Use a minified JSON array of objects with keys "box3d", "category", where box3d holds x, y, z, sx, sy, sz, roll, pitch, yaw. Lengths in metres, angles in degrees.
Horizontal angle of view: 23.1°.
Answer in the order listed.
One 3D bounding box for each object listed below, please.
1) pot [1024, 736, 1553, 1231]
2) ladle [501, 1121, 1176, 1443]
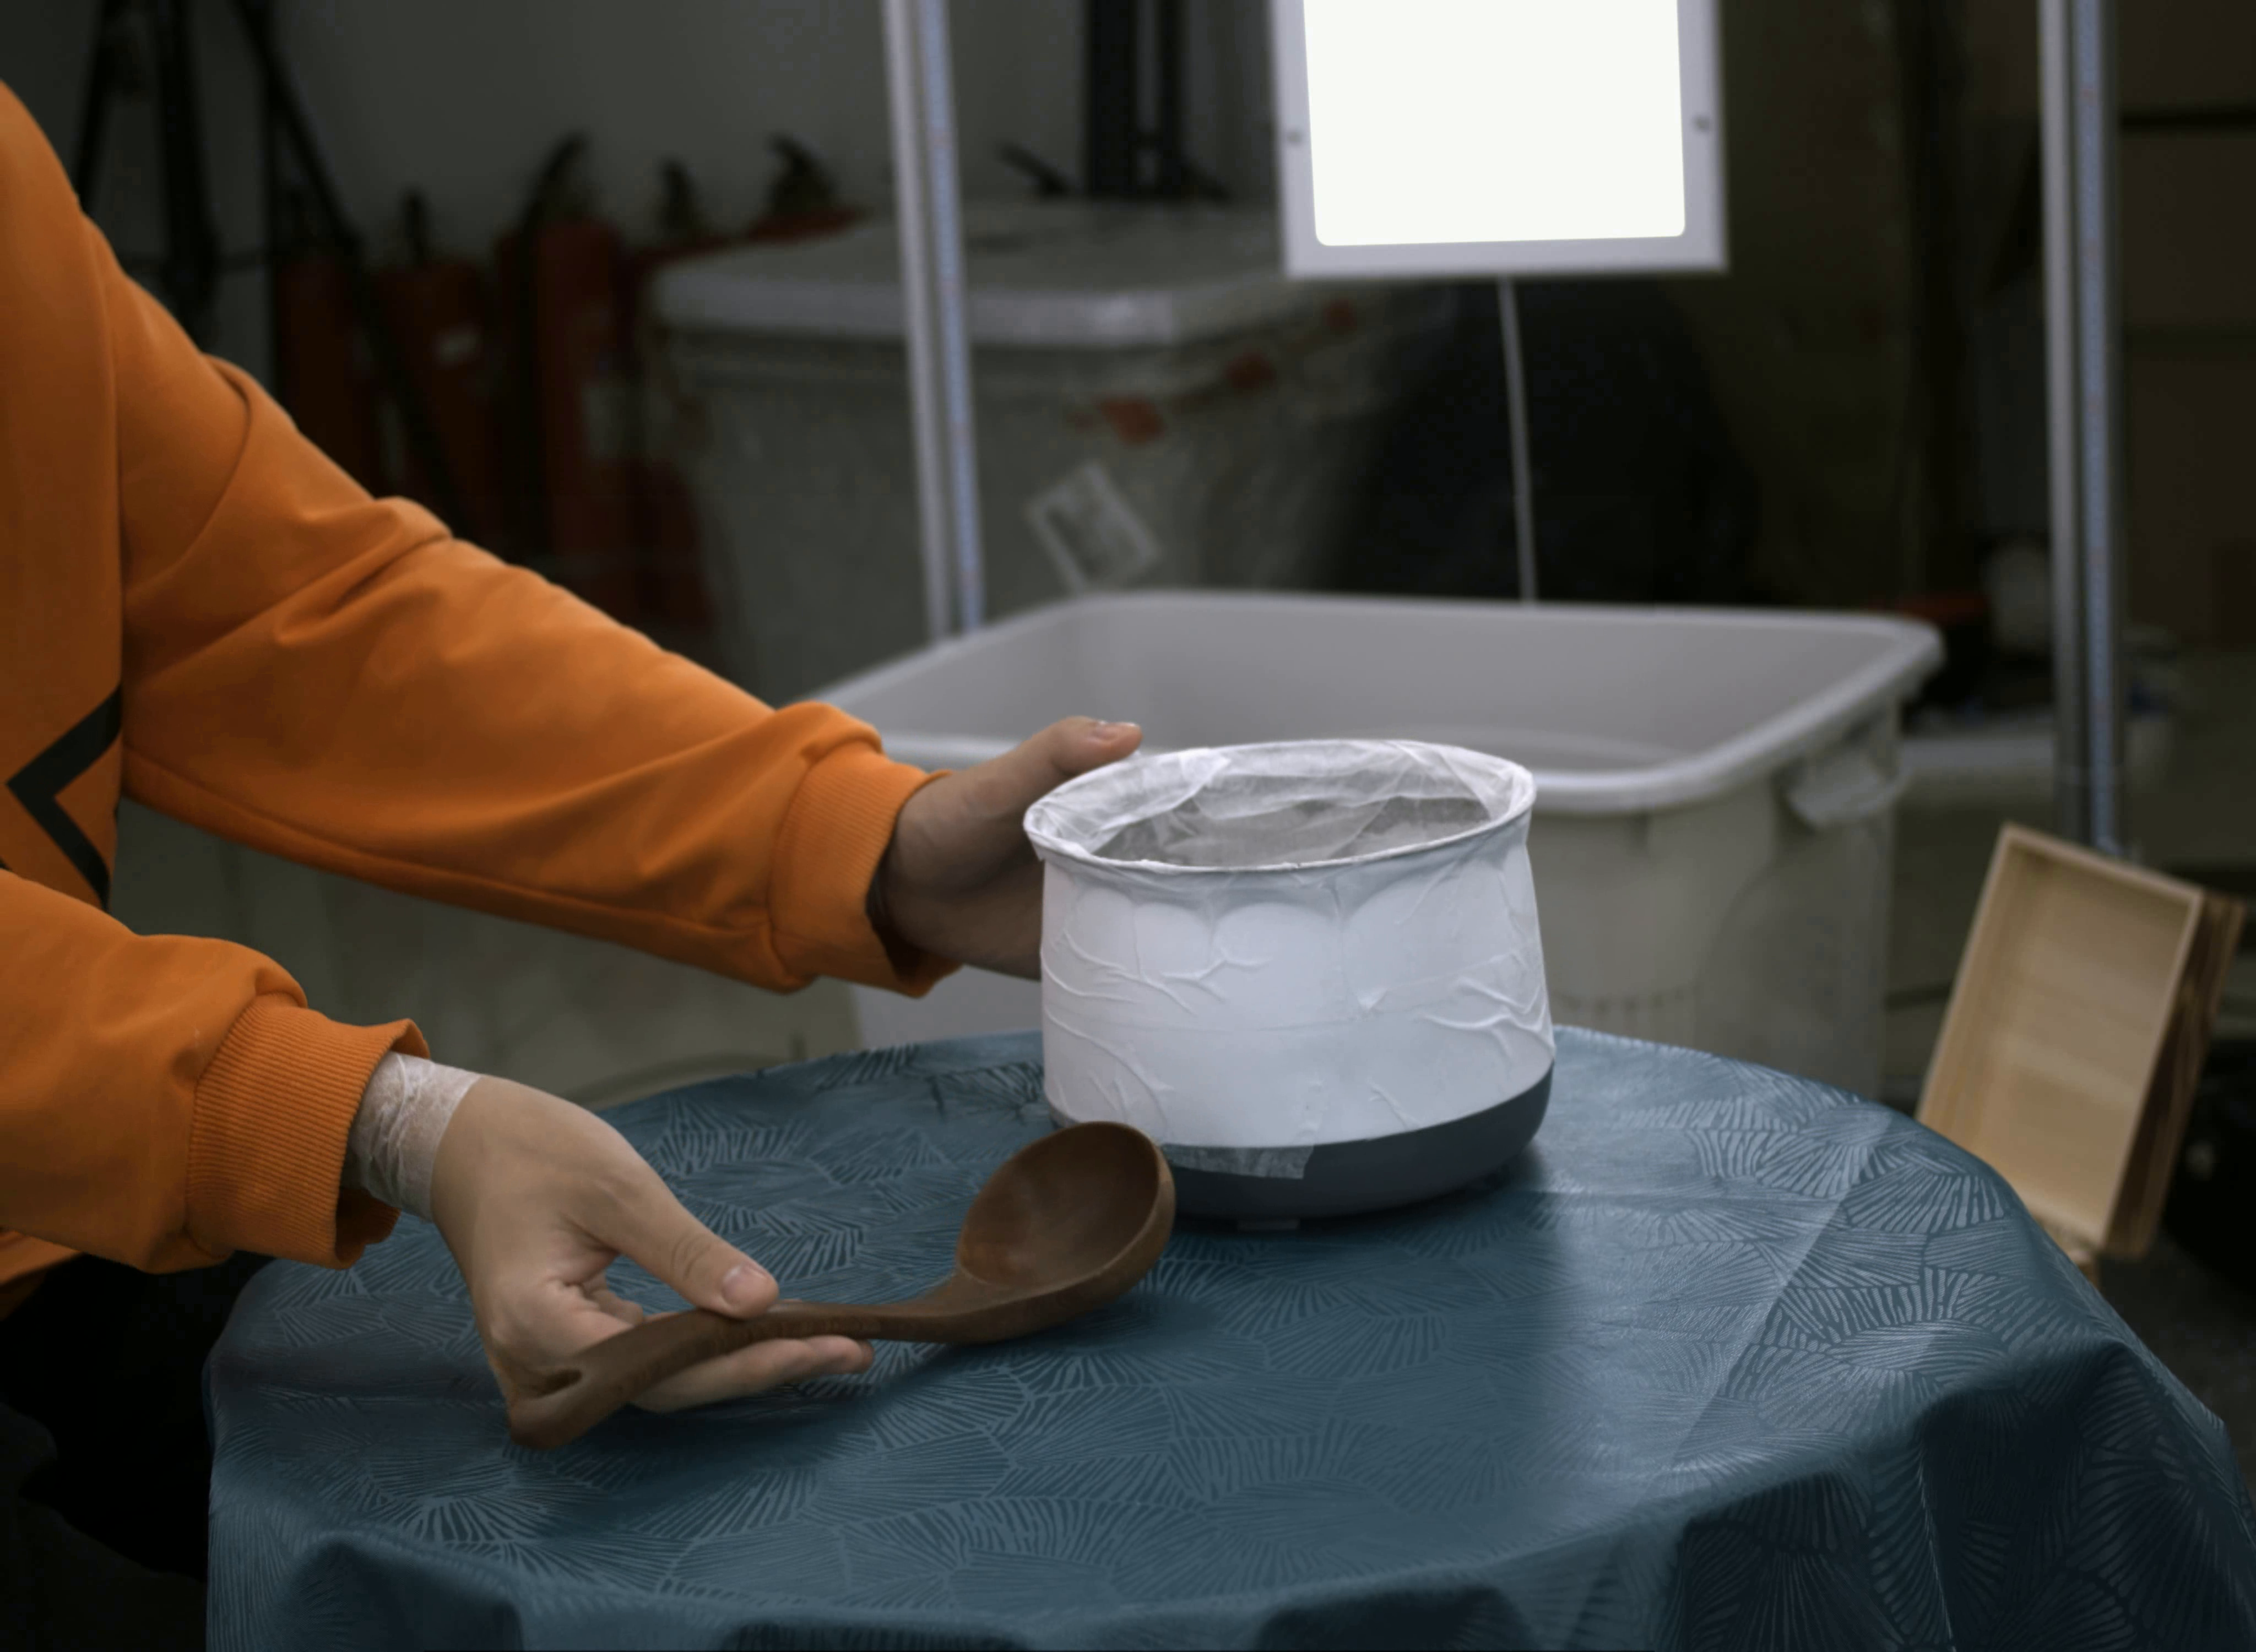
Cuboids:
[{"box3d":[0.041,0.048,1.913,0.174,0.137,0.238,-13,16,-31],"category":"pot"},{"box3d":[-0.089,0.139,1.710,0.253,0.065,0.078,-7,8,-41],"category":"ladle"}]
